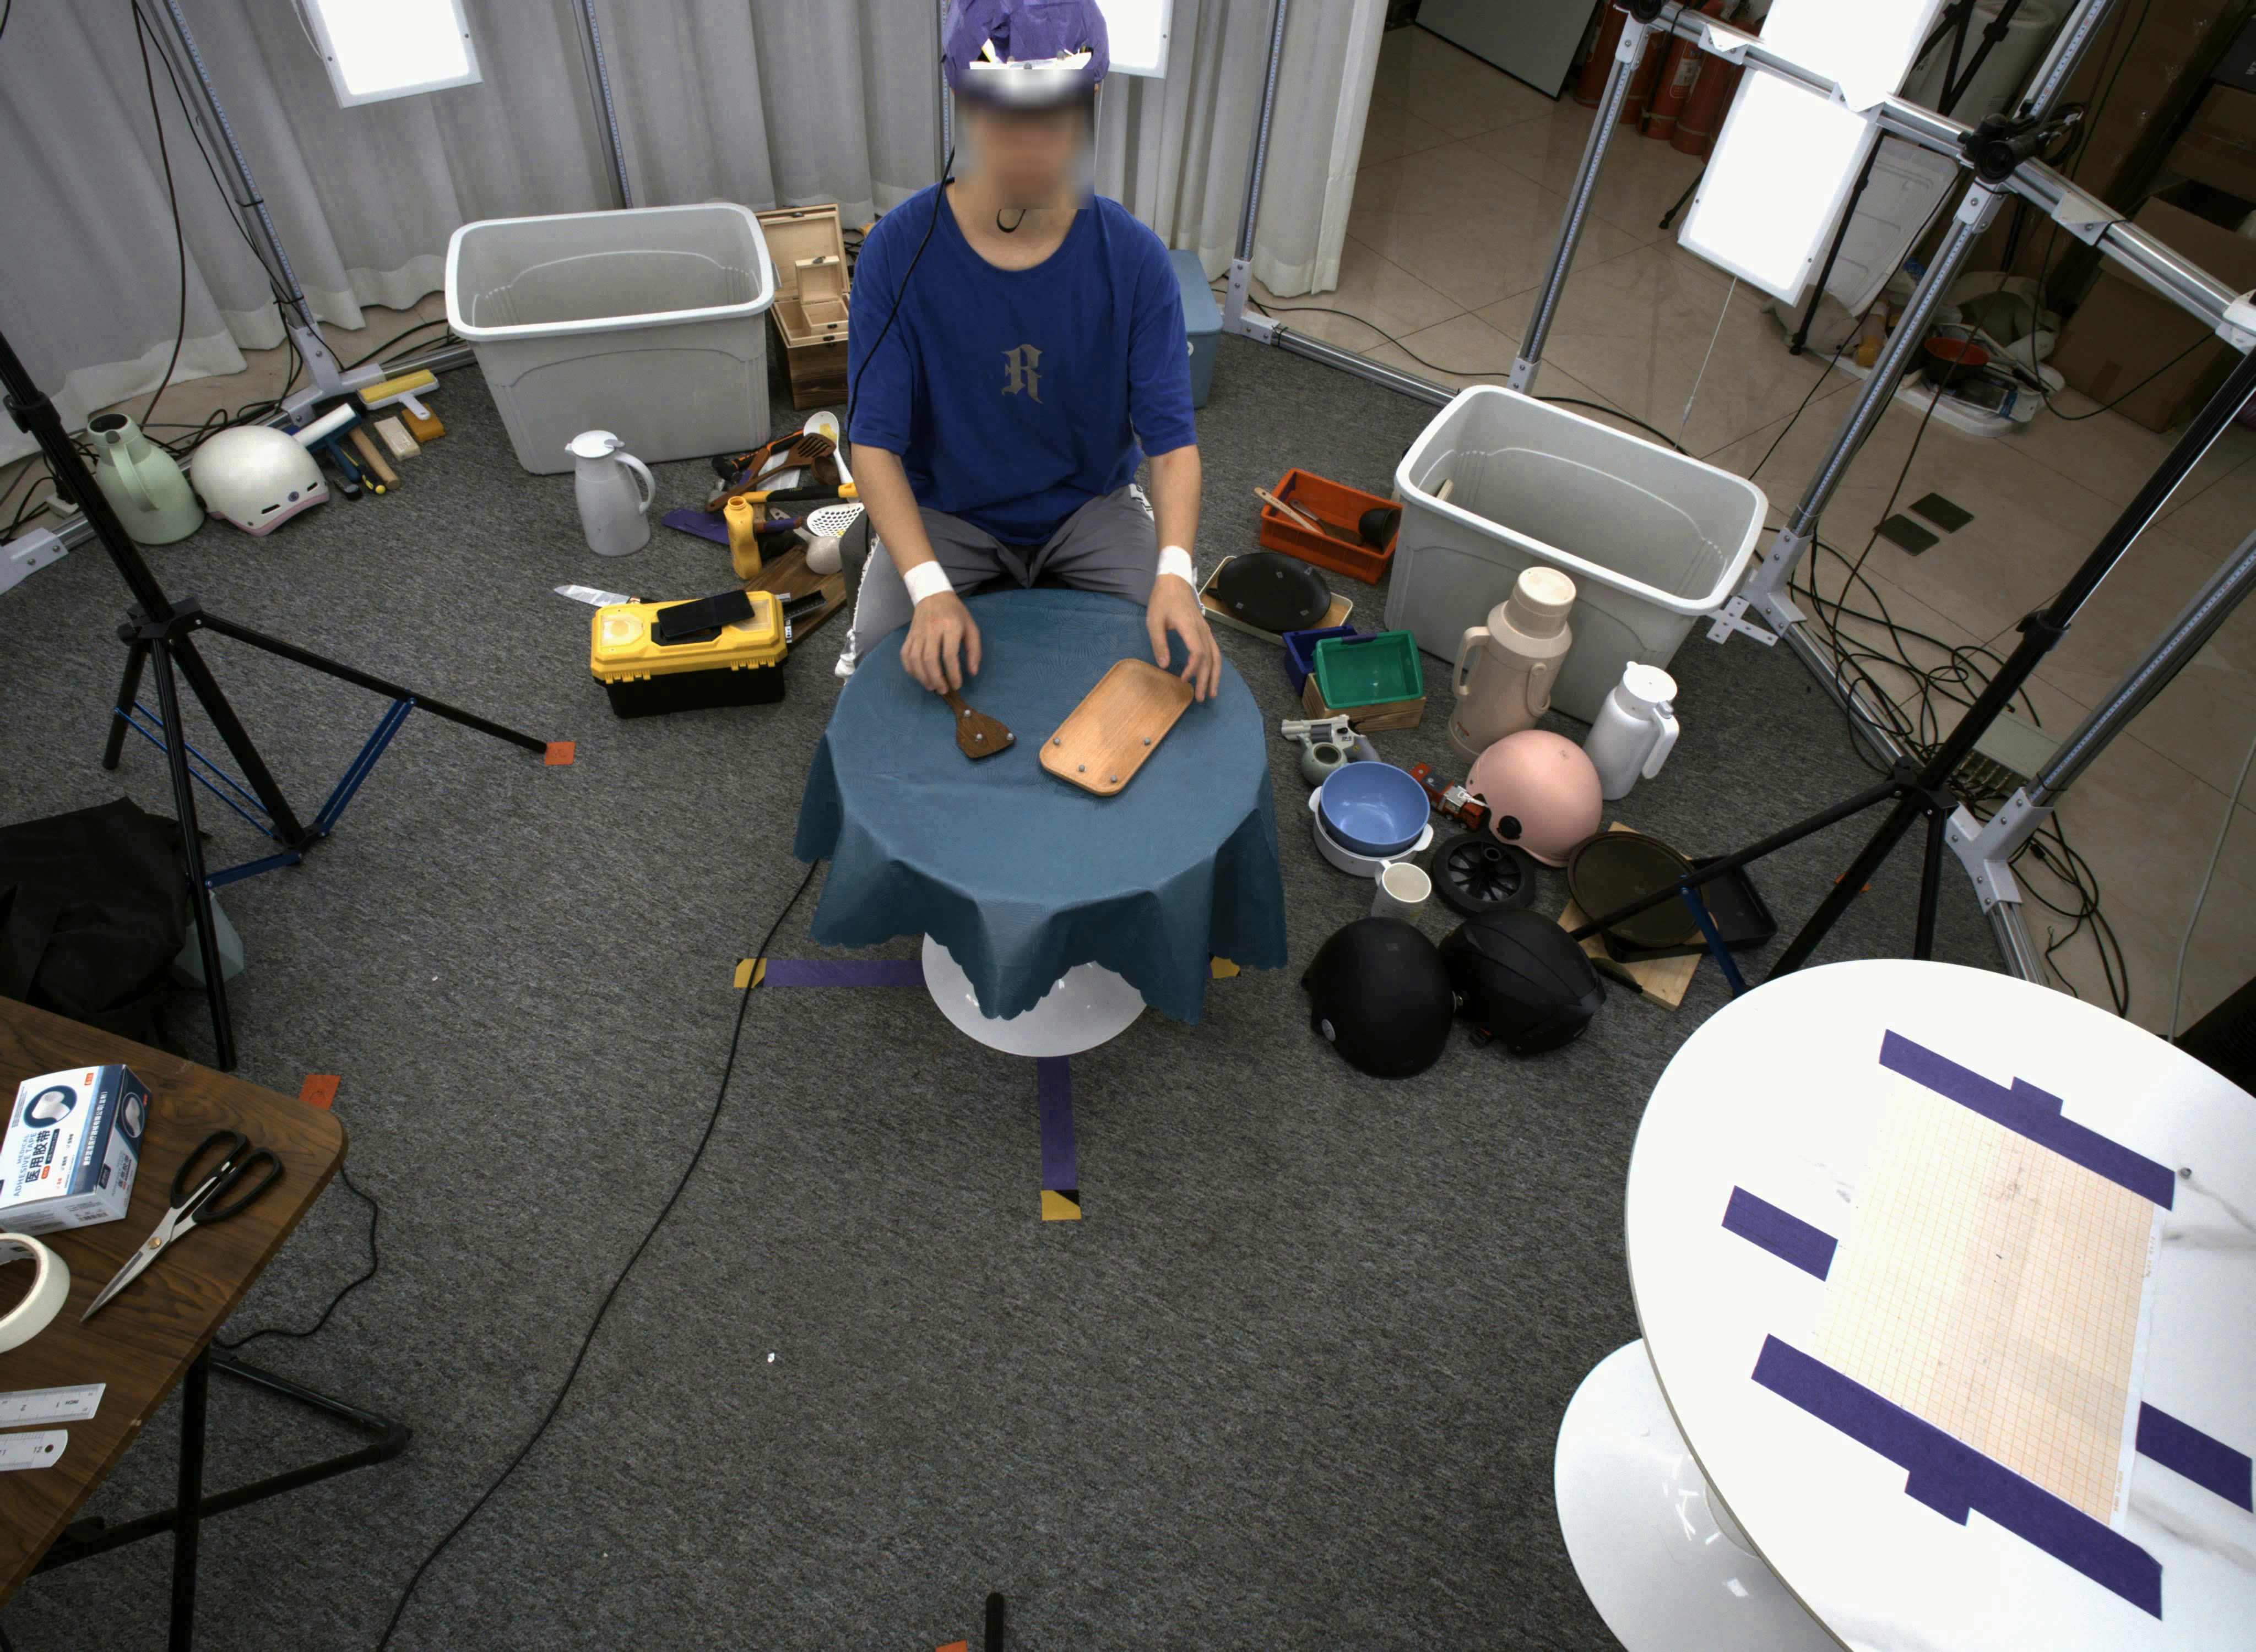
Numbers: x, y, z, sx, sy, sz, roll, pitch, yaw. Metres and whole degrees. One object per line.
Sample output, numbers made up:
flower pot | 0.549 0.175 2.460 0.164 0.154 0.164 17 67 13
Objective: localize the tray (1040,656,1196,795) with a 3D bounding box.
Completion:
tray | -0.011 -0.143 1.784 0.131 0.022 0.254 28 53 16

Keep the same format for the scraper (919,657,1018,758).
scraper | -0.234 -0.170 1.799 0.076 0.010 0.215 -24 55 -23
